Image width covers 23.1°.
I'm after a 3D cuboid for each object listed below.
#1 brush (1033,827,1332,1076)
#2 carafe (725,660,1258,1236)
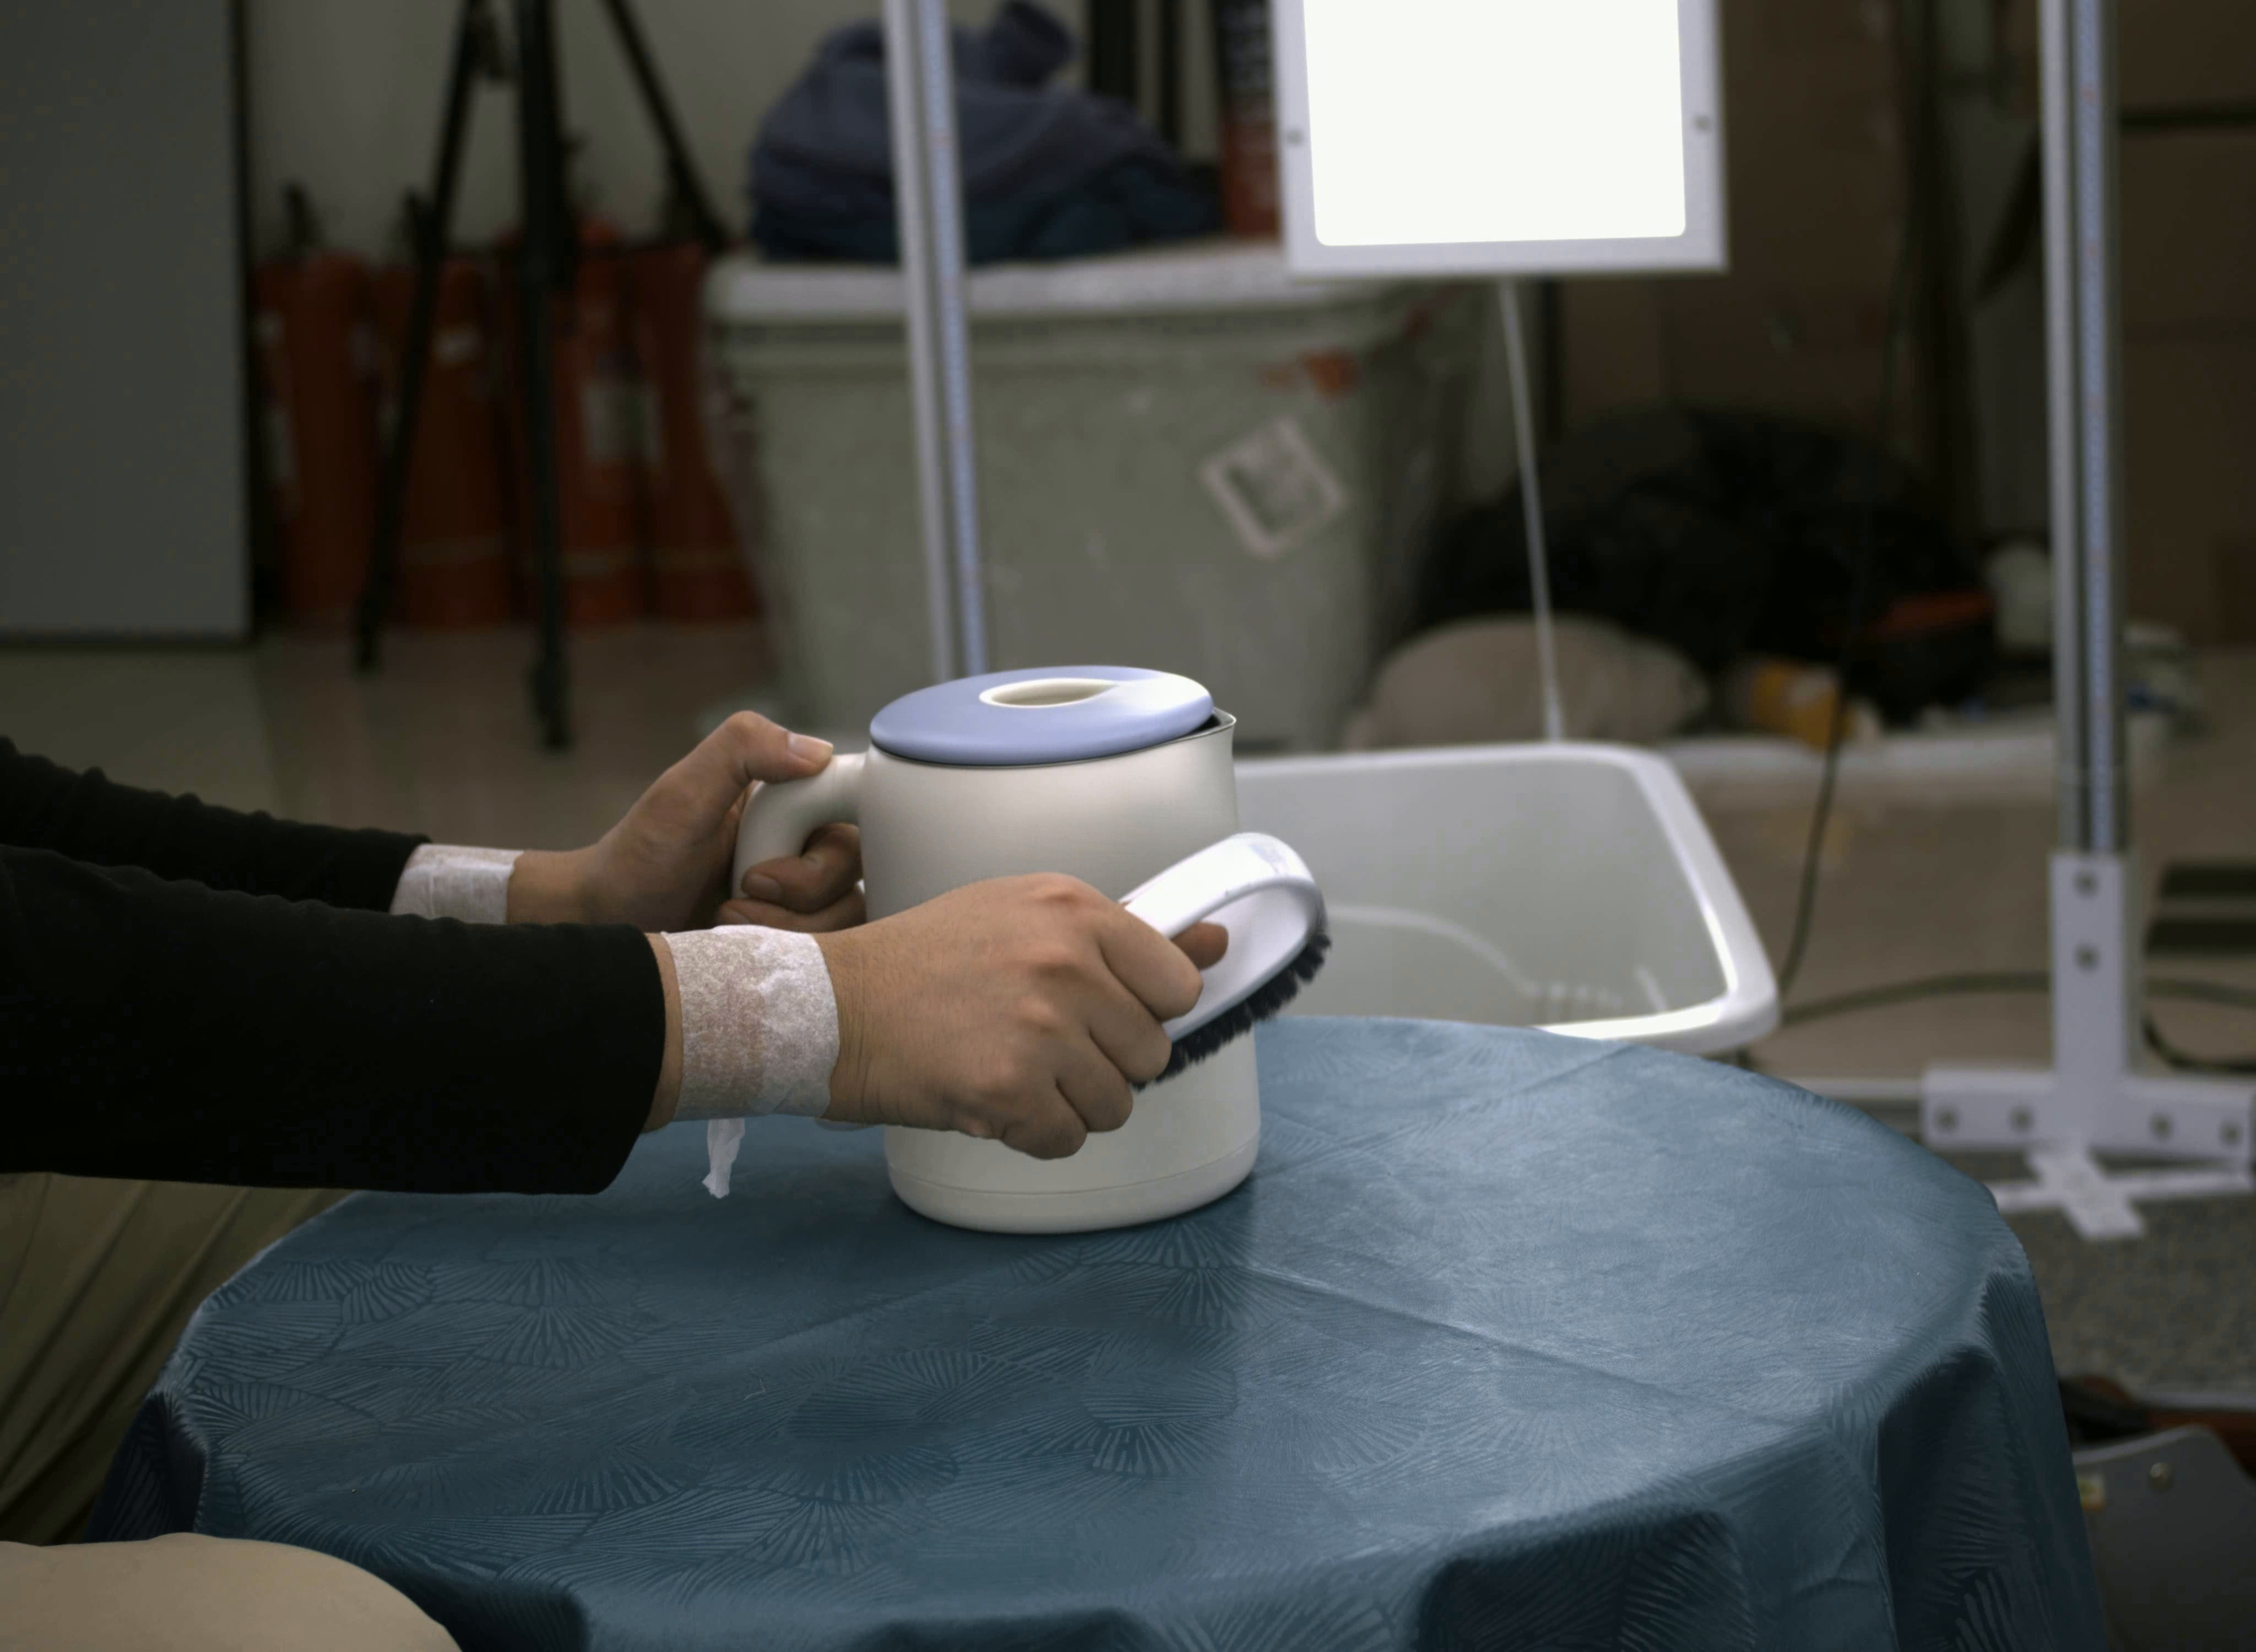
[{"bbox_3d":[0.015,0.036,1.751,0.099,0.050,0.072,-32,-20,-1],"label":"brush"},{"bbox_3d":[-0.048,0.042,1.902,0.193,0.183,0.130,-2,14,17],"label":"carafe"}]
